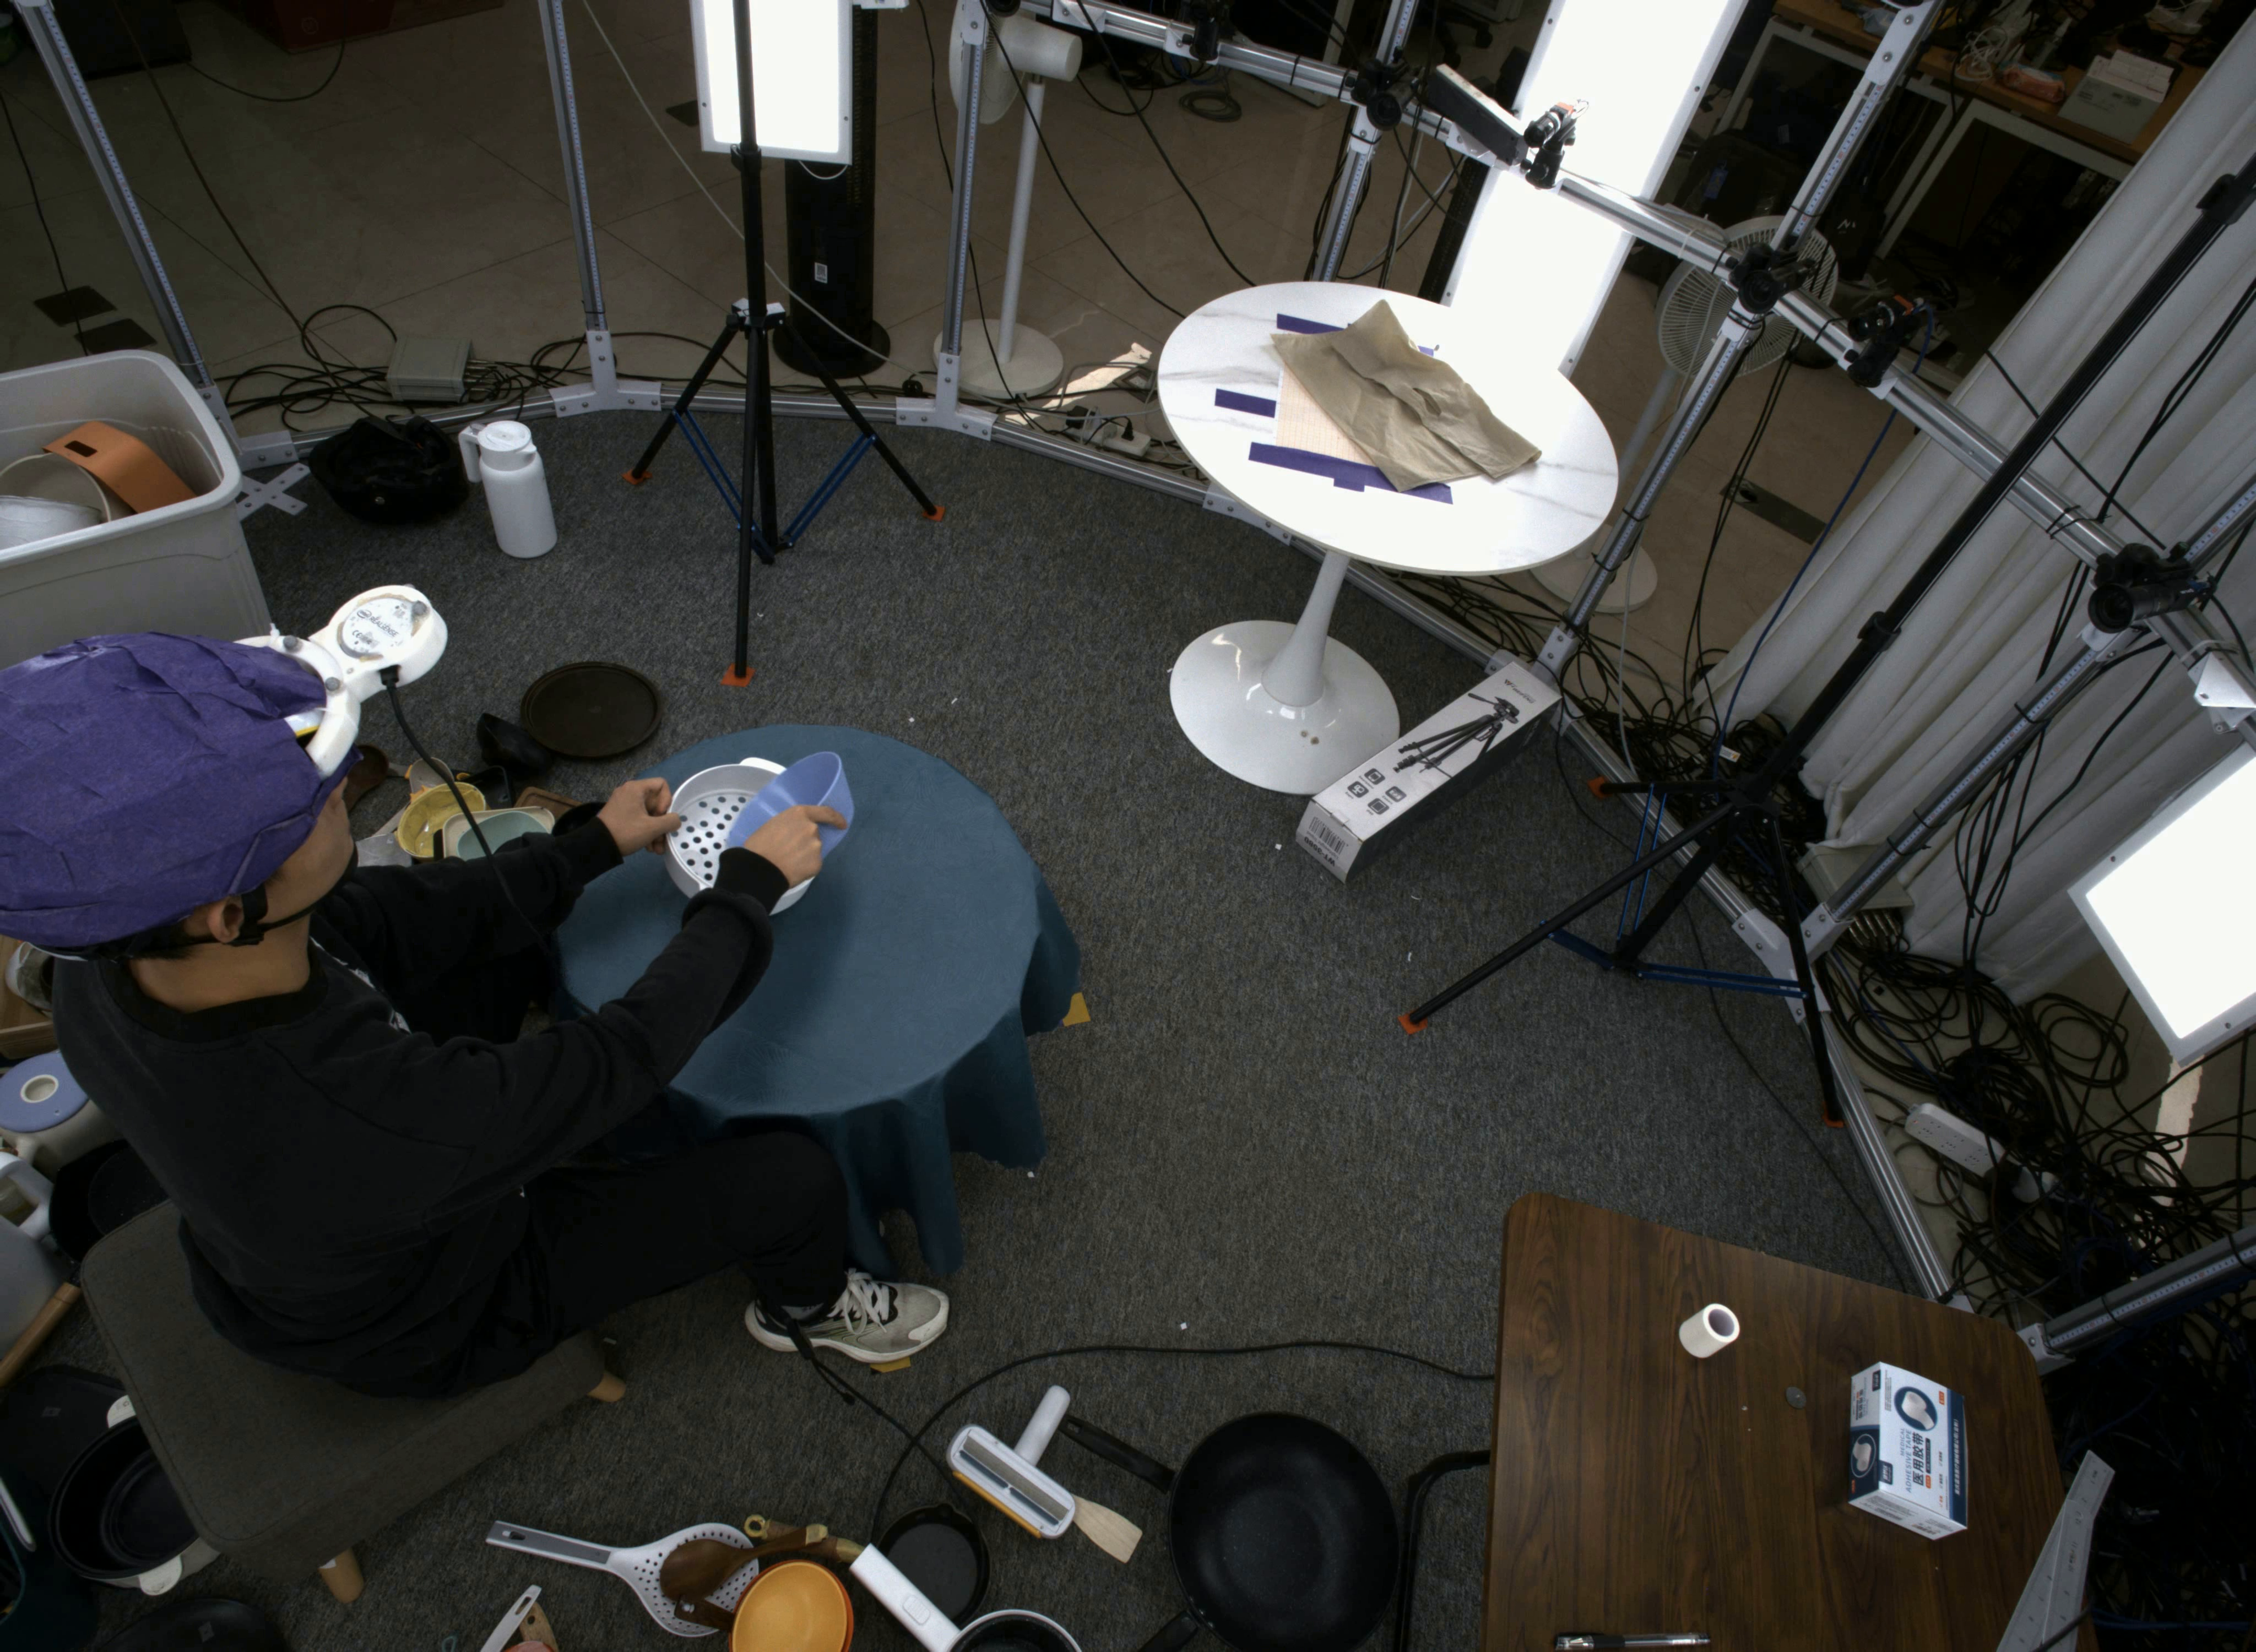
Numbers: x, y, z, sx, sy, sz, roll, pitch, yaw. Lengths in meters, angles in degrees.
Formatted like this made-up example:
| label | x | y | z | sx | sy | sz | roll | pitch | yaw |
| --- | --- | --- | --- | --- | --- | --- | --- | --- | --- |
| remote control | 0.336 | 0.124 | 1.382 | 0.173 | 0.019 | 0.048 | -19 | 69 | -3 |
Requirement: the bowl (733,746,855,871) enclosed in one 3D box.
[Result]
| label | x | y | z | sx | sy | sz | roll | pitch | yaw |
| --- | --- | --- | --- | --- | --- | --- | --- | --- | --- |
| bowl | -0.401 | -0.011 | 1.598 | 0.073 | 0.172 | 0.174 | 48 | 43 | -29 |

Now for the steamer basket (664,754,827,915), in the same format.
| label | x | y | z | sx | sy | sz | roll | pitch | yaw |
| --- | --- | --- | --- | --- | --- | --- | --- | --- | --- |
| steamer basket | -0.485 | 0.016 | 1.634 | 0.204 | 0.069 | 0.226 | 19 | 49 | -19 |
